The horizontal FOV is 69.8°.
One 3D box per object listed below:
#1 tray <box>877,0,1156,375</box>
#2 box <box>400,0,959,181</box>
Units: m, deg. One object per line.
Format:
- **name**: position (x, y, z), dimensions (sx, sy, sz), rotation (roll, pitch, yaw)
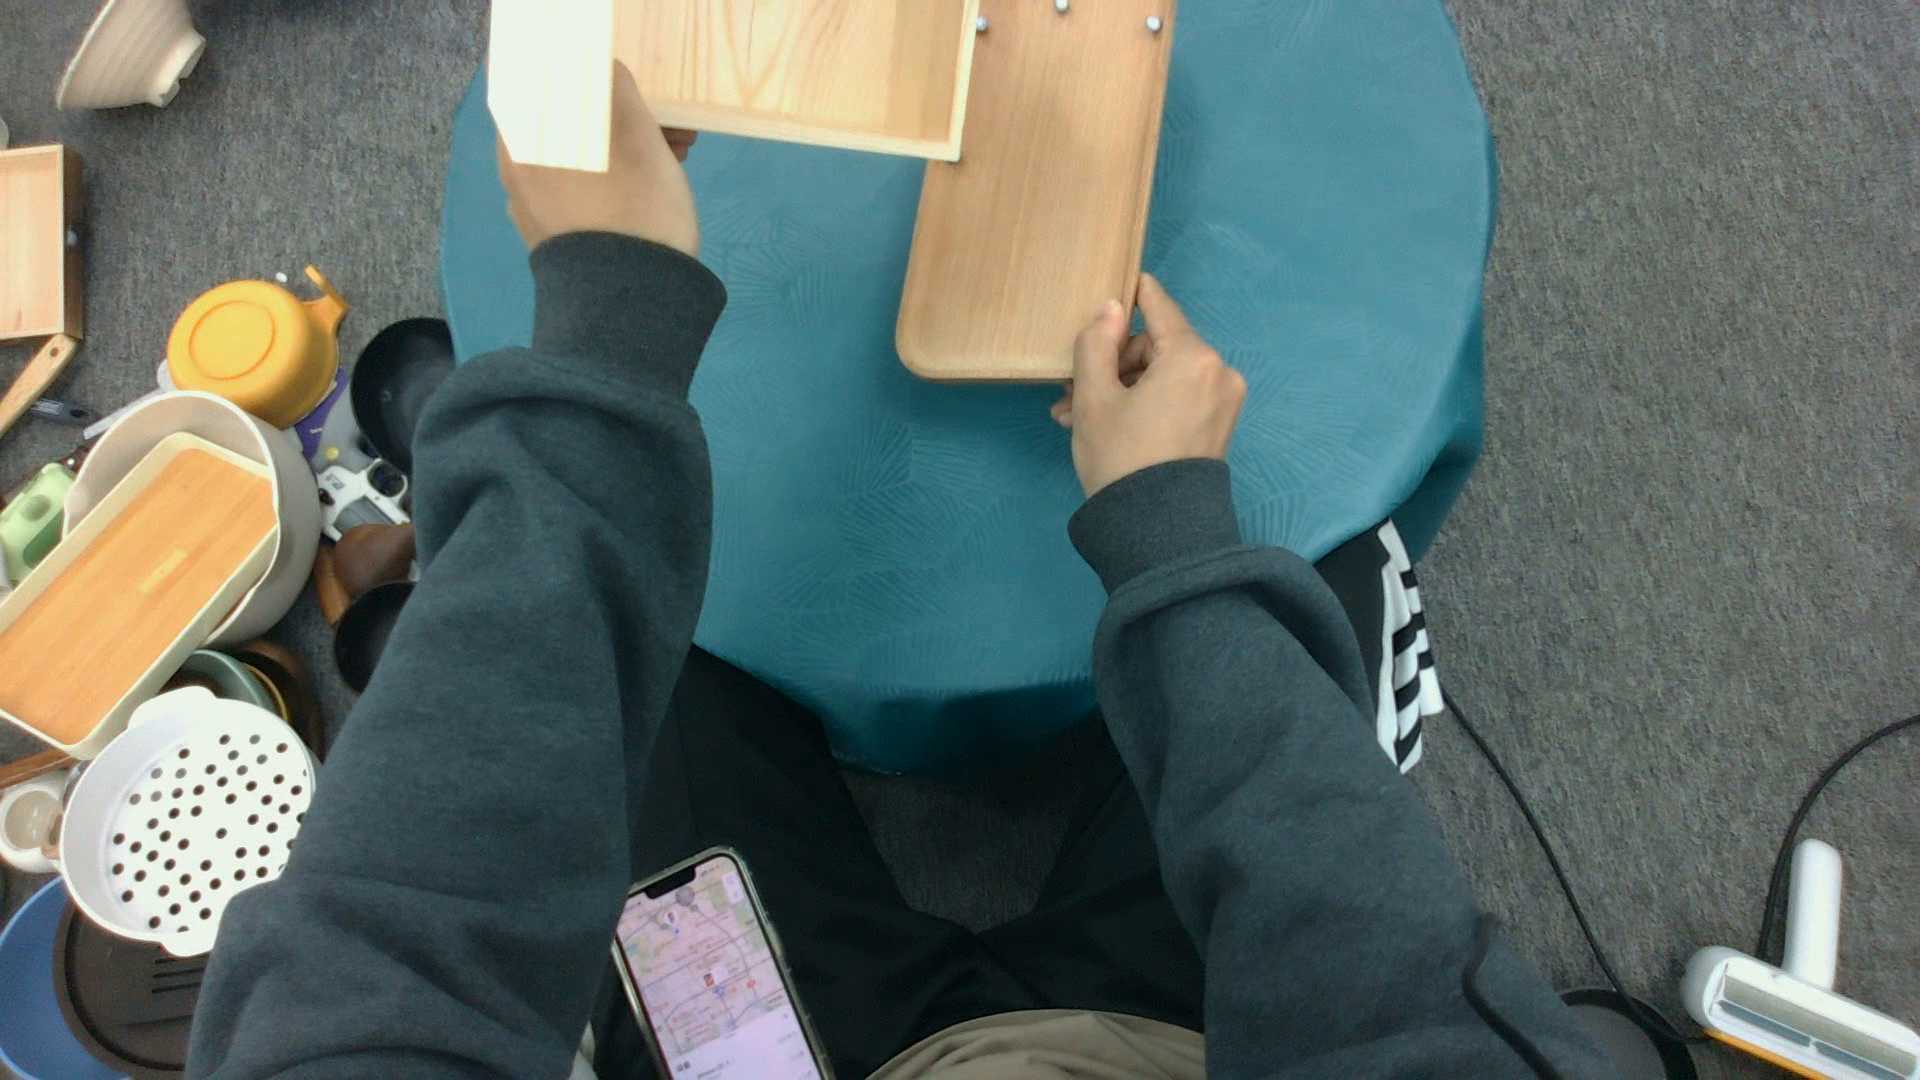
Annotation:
- **tray**: position (0.032, -0.201, 0.730), dimensions (0.130, 0.023, 0.251), rotation (1, 72, 25)
- **box**: position (-0.082, -0.240, 0.513), dimensions (0.266, 0.253, 0.181), rotation (-3, 115, -29)
